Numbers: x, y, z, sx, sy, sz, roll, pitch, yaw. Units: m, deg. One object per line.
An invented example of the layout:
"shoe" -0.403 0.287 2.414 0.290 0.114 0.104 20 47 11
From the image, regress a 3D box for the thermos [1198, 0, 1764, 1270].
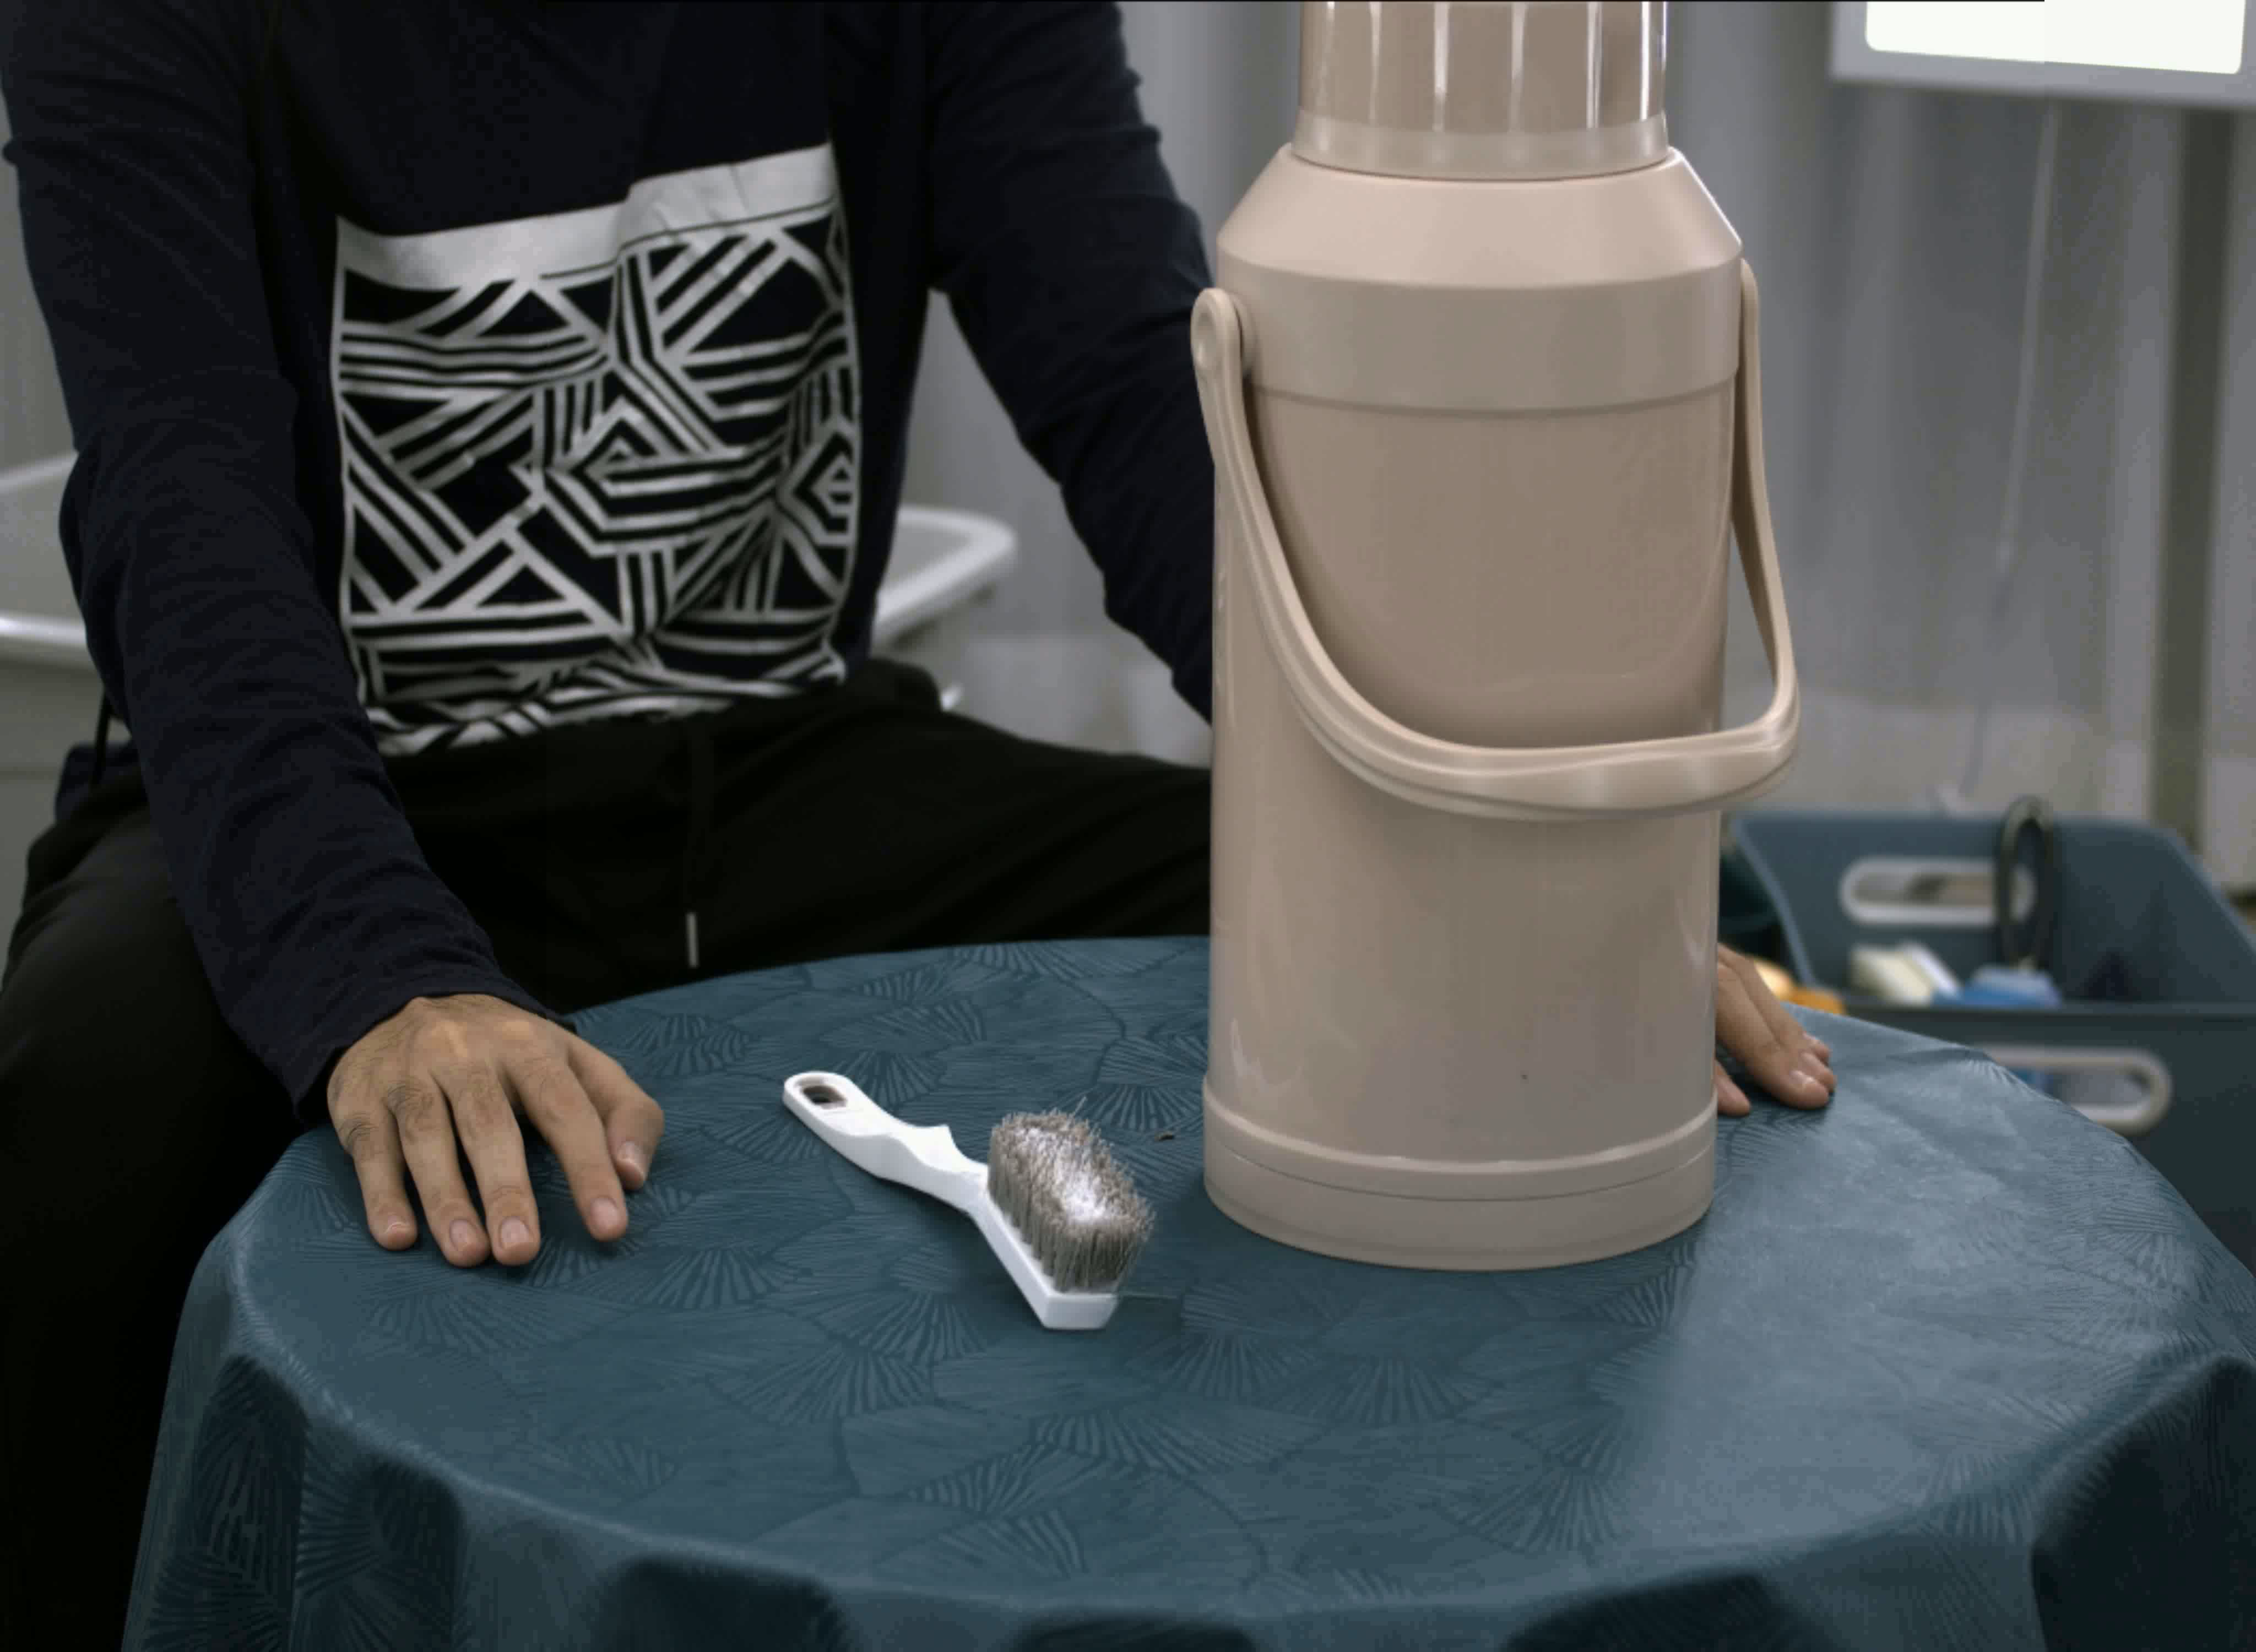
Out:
"thermos" 0.102 -0.083 1.591 0.176 0.410 0.204 -8 18 -22

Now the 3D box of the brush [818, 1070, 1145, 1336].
"brush" -0.050 0.094 1.599 0.034 0.051 0.241 -11 19 -19
